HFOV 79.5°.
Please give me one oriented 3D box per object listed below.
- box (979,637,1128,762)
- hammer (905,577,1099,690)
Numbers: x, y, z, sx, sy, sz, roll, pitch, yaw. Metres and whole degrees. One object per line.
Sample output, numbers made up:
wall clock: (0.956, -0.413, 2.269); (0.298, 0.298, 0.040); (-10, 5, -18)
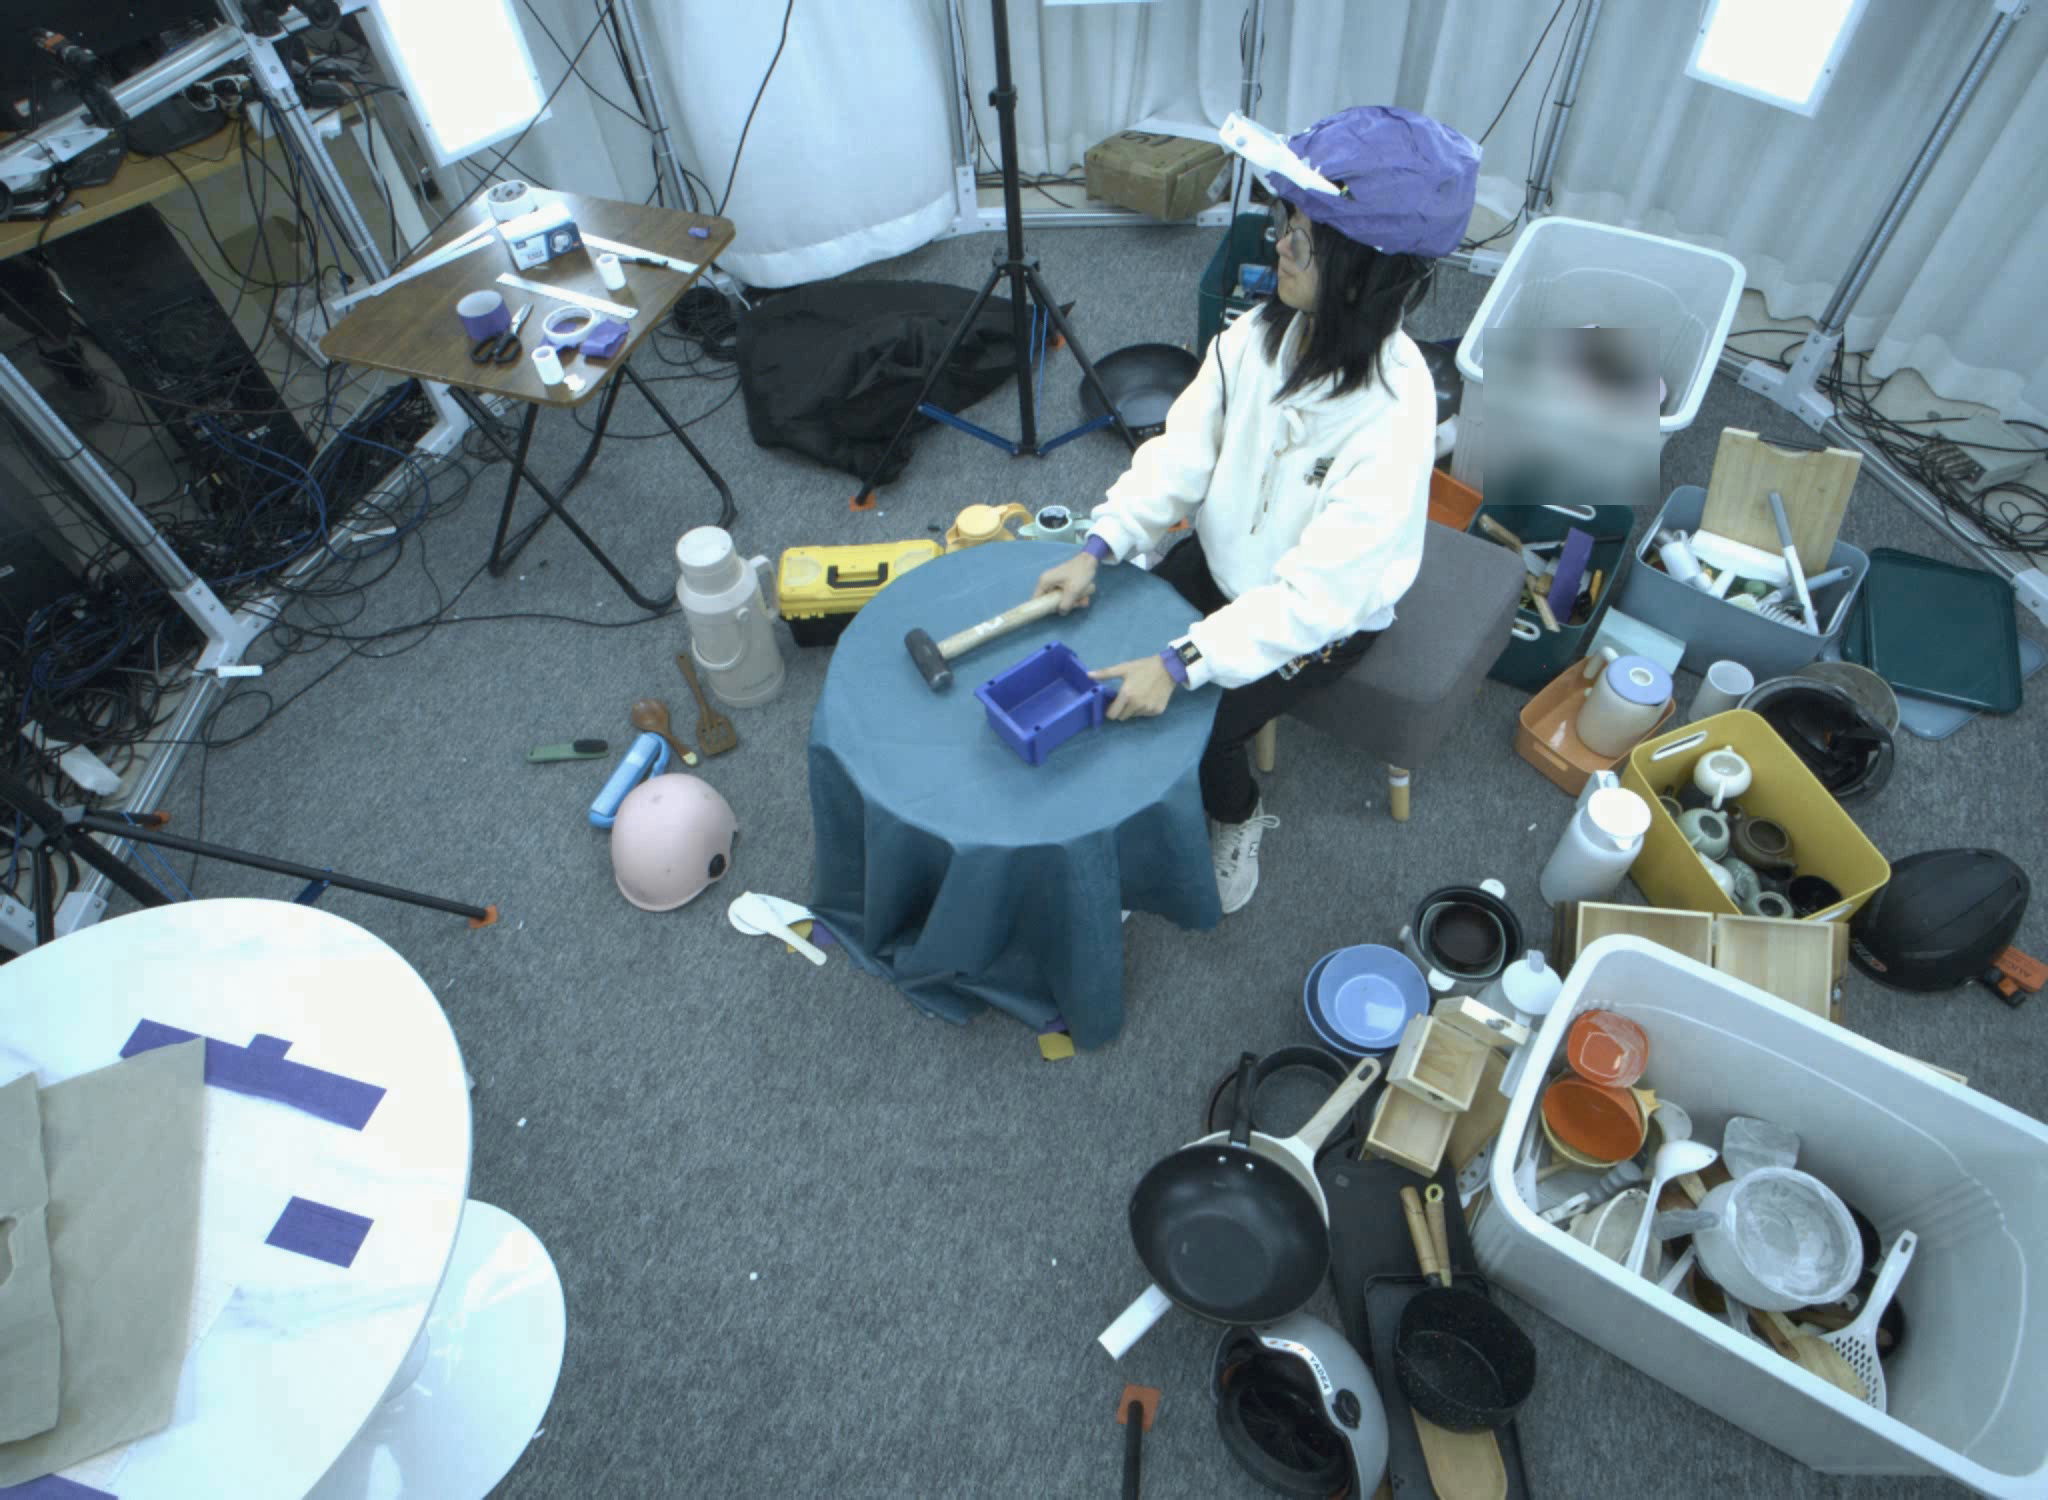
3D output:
box: (0.043, -0.078, 1.792); (0.180, 0.083, 0.122); (-34, 59, -17)
hammer: (-0.027, -0.195, 1.894); (0.307, 0.039, 0.105); (-24, 58, -11)
